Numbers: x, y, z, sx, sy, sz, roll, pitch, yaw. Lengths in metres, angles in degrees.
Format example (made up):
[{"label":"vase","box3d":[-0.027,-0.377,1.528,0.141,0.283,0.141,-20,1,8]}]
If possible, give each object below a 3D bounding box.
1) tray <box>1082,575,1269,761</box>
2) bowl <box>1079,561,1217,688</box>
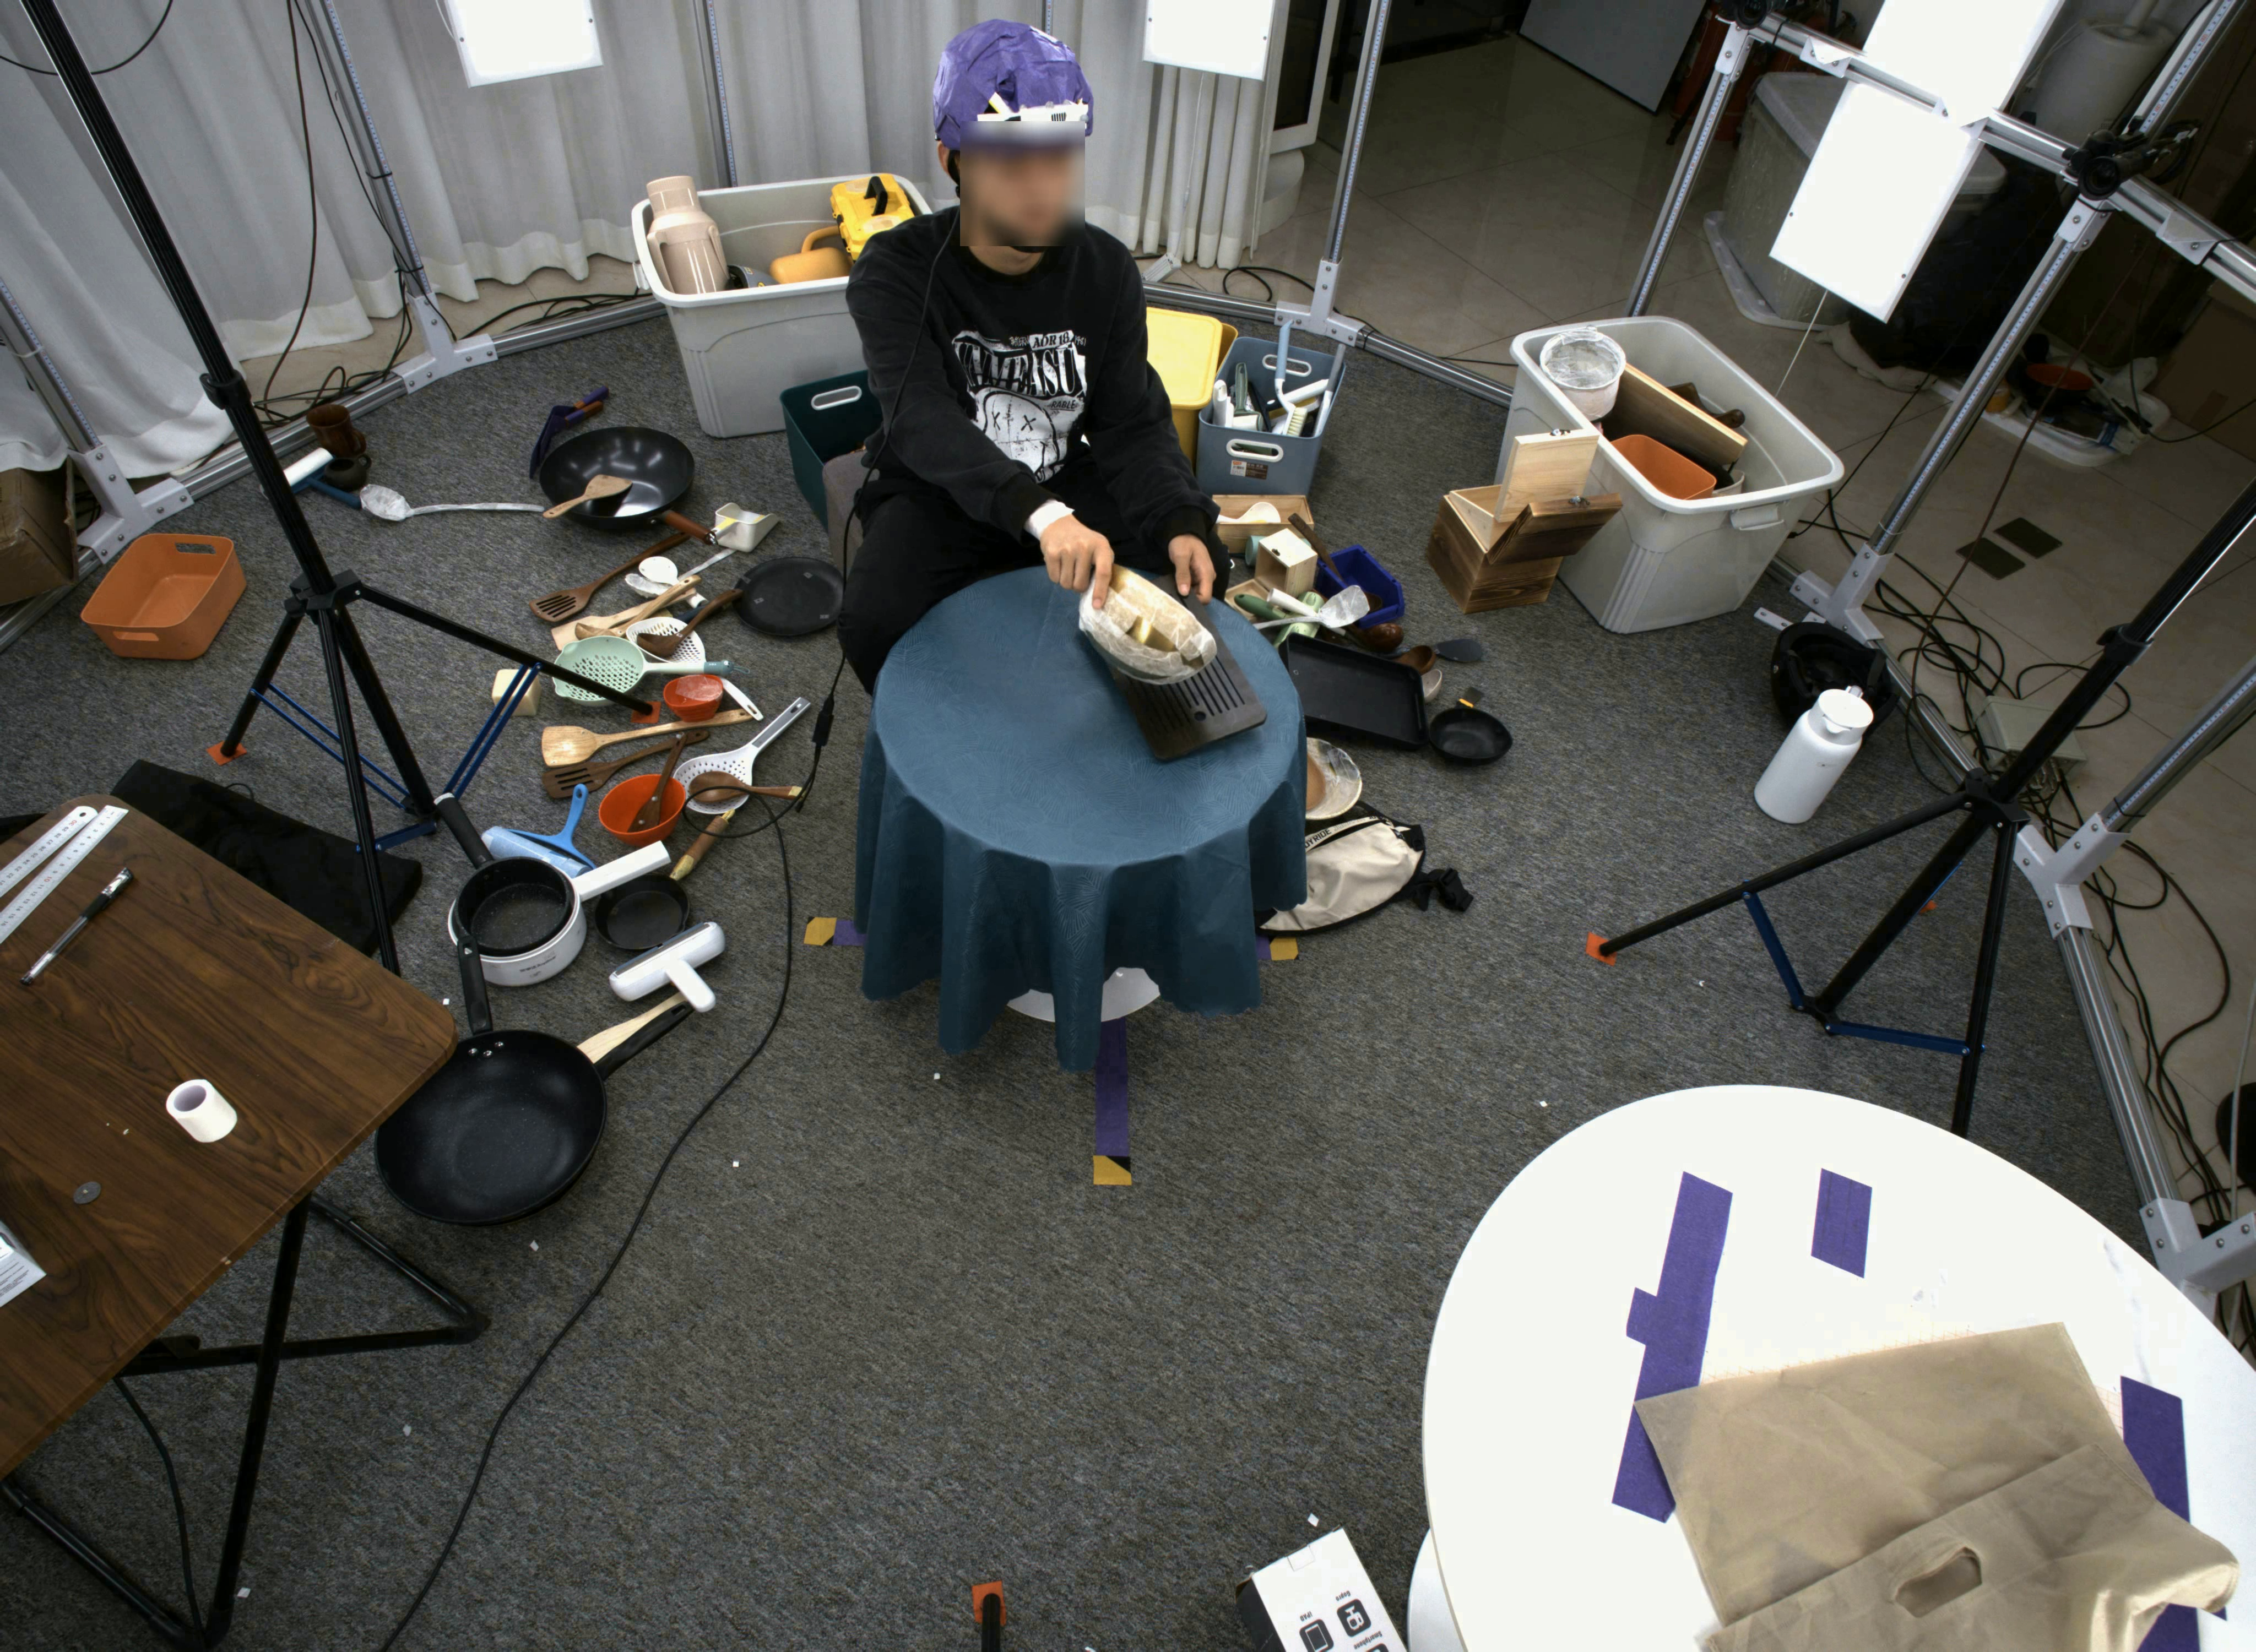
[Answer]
[{"label":"tray","box3d":[0.064,-0.231,1.849,0.170,0.018,0.313,-21,57,-9]},{"label":"bowl","box3d":[0.010,-0.247,1.703,0.217,0.211,0.095,32,83,21]}]
